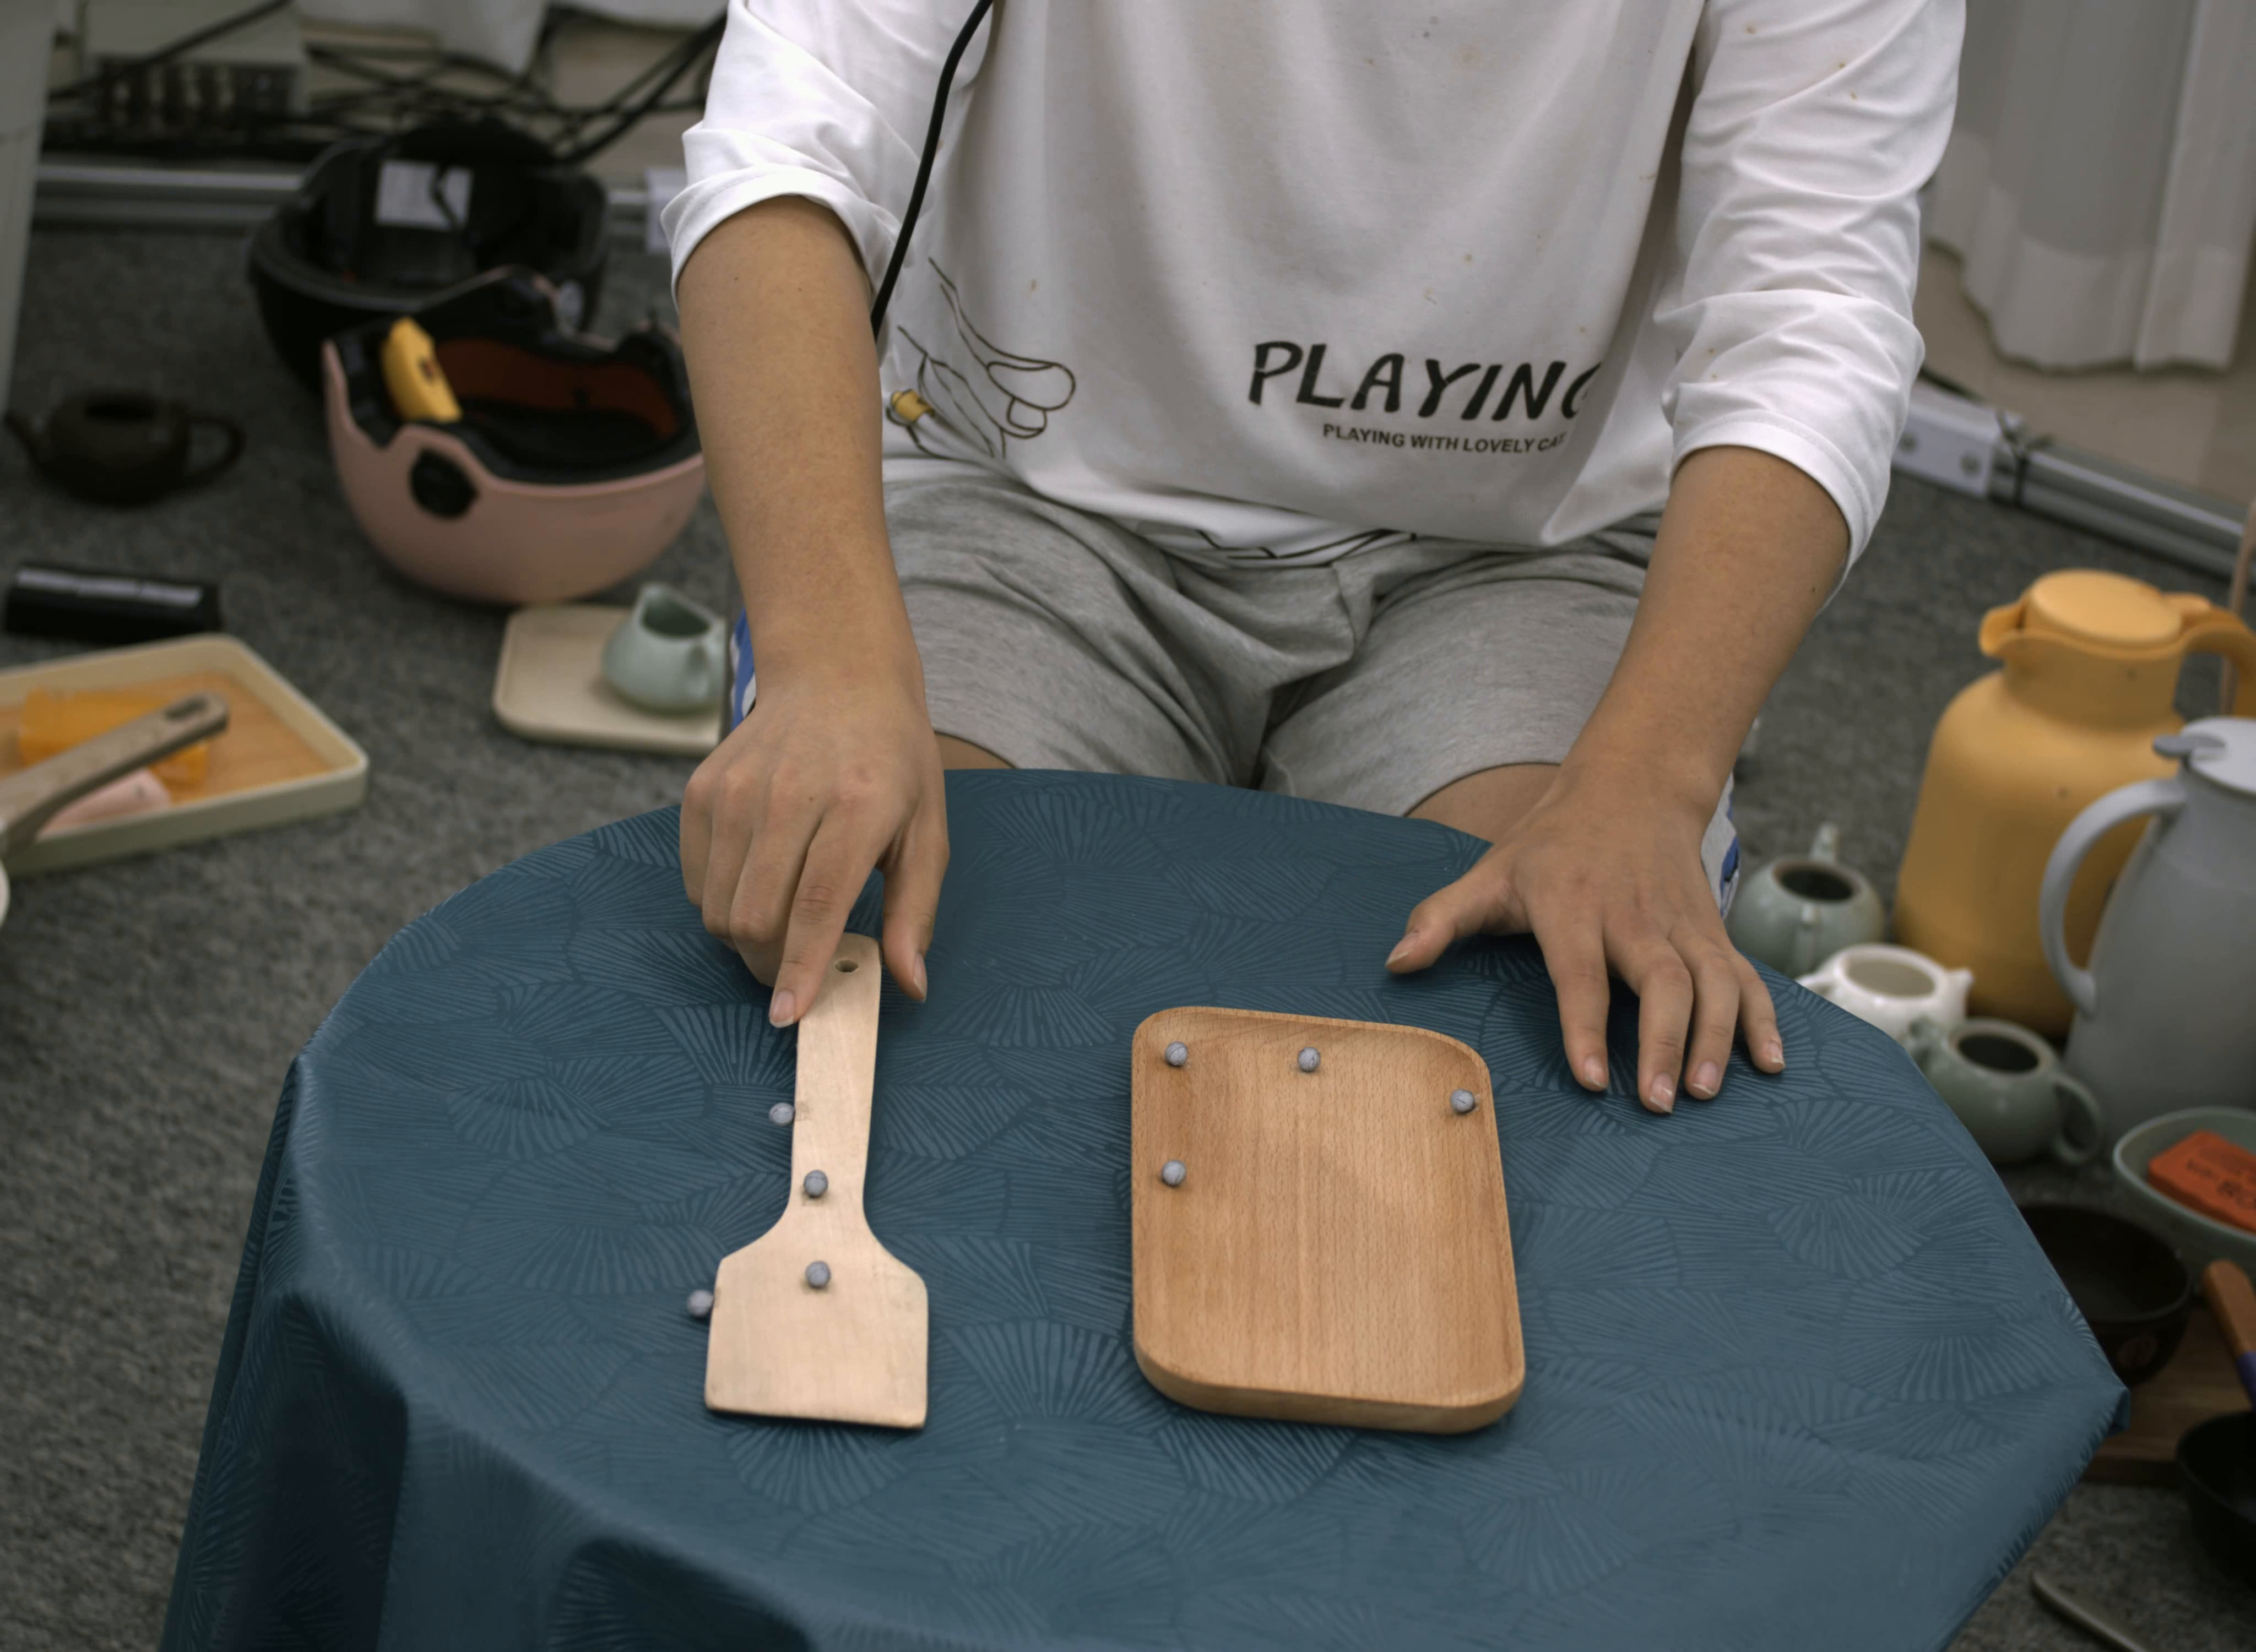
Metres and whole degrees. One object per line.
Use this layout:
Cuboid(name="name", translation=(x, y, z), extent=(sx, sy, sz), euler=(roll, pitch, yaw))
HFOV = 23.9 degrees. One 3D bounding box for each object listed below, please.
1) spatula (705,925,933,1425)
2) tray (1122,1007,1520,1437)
Cuboid(name="spatula", translation=(-0.099, 0.112, 1.785), extent=(0.072, 0.010, 0.295), euler=(5, 30, -4))
Cuboid(name="tray", translation=(0.063, 0.130, 1.790), extent=(0.130, 0.023, 0.252), euler=(4, 27, 0))
